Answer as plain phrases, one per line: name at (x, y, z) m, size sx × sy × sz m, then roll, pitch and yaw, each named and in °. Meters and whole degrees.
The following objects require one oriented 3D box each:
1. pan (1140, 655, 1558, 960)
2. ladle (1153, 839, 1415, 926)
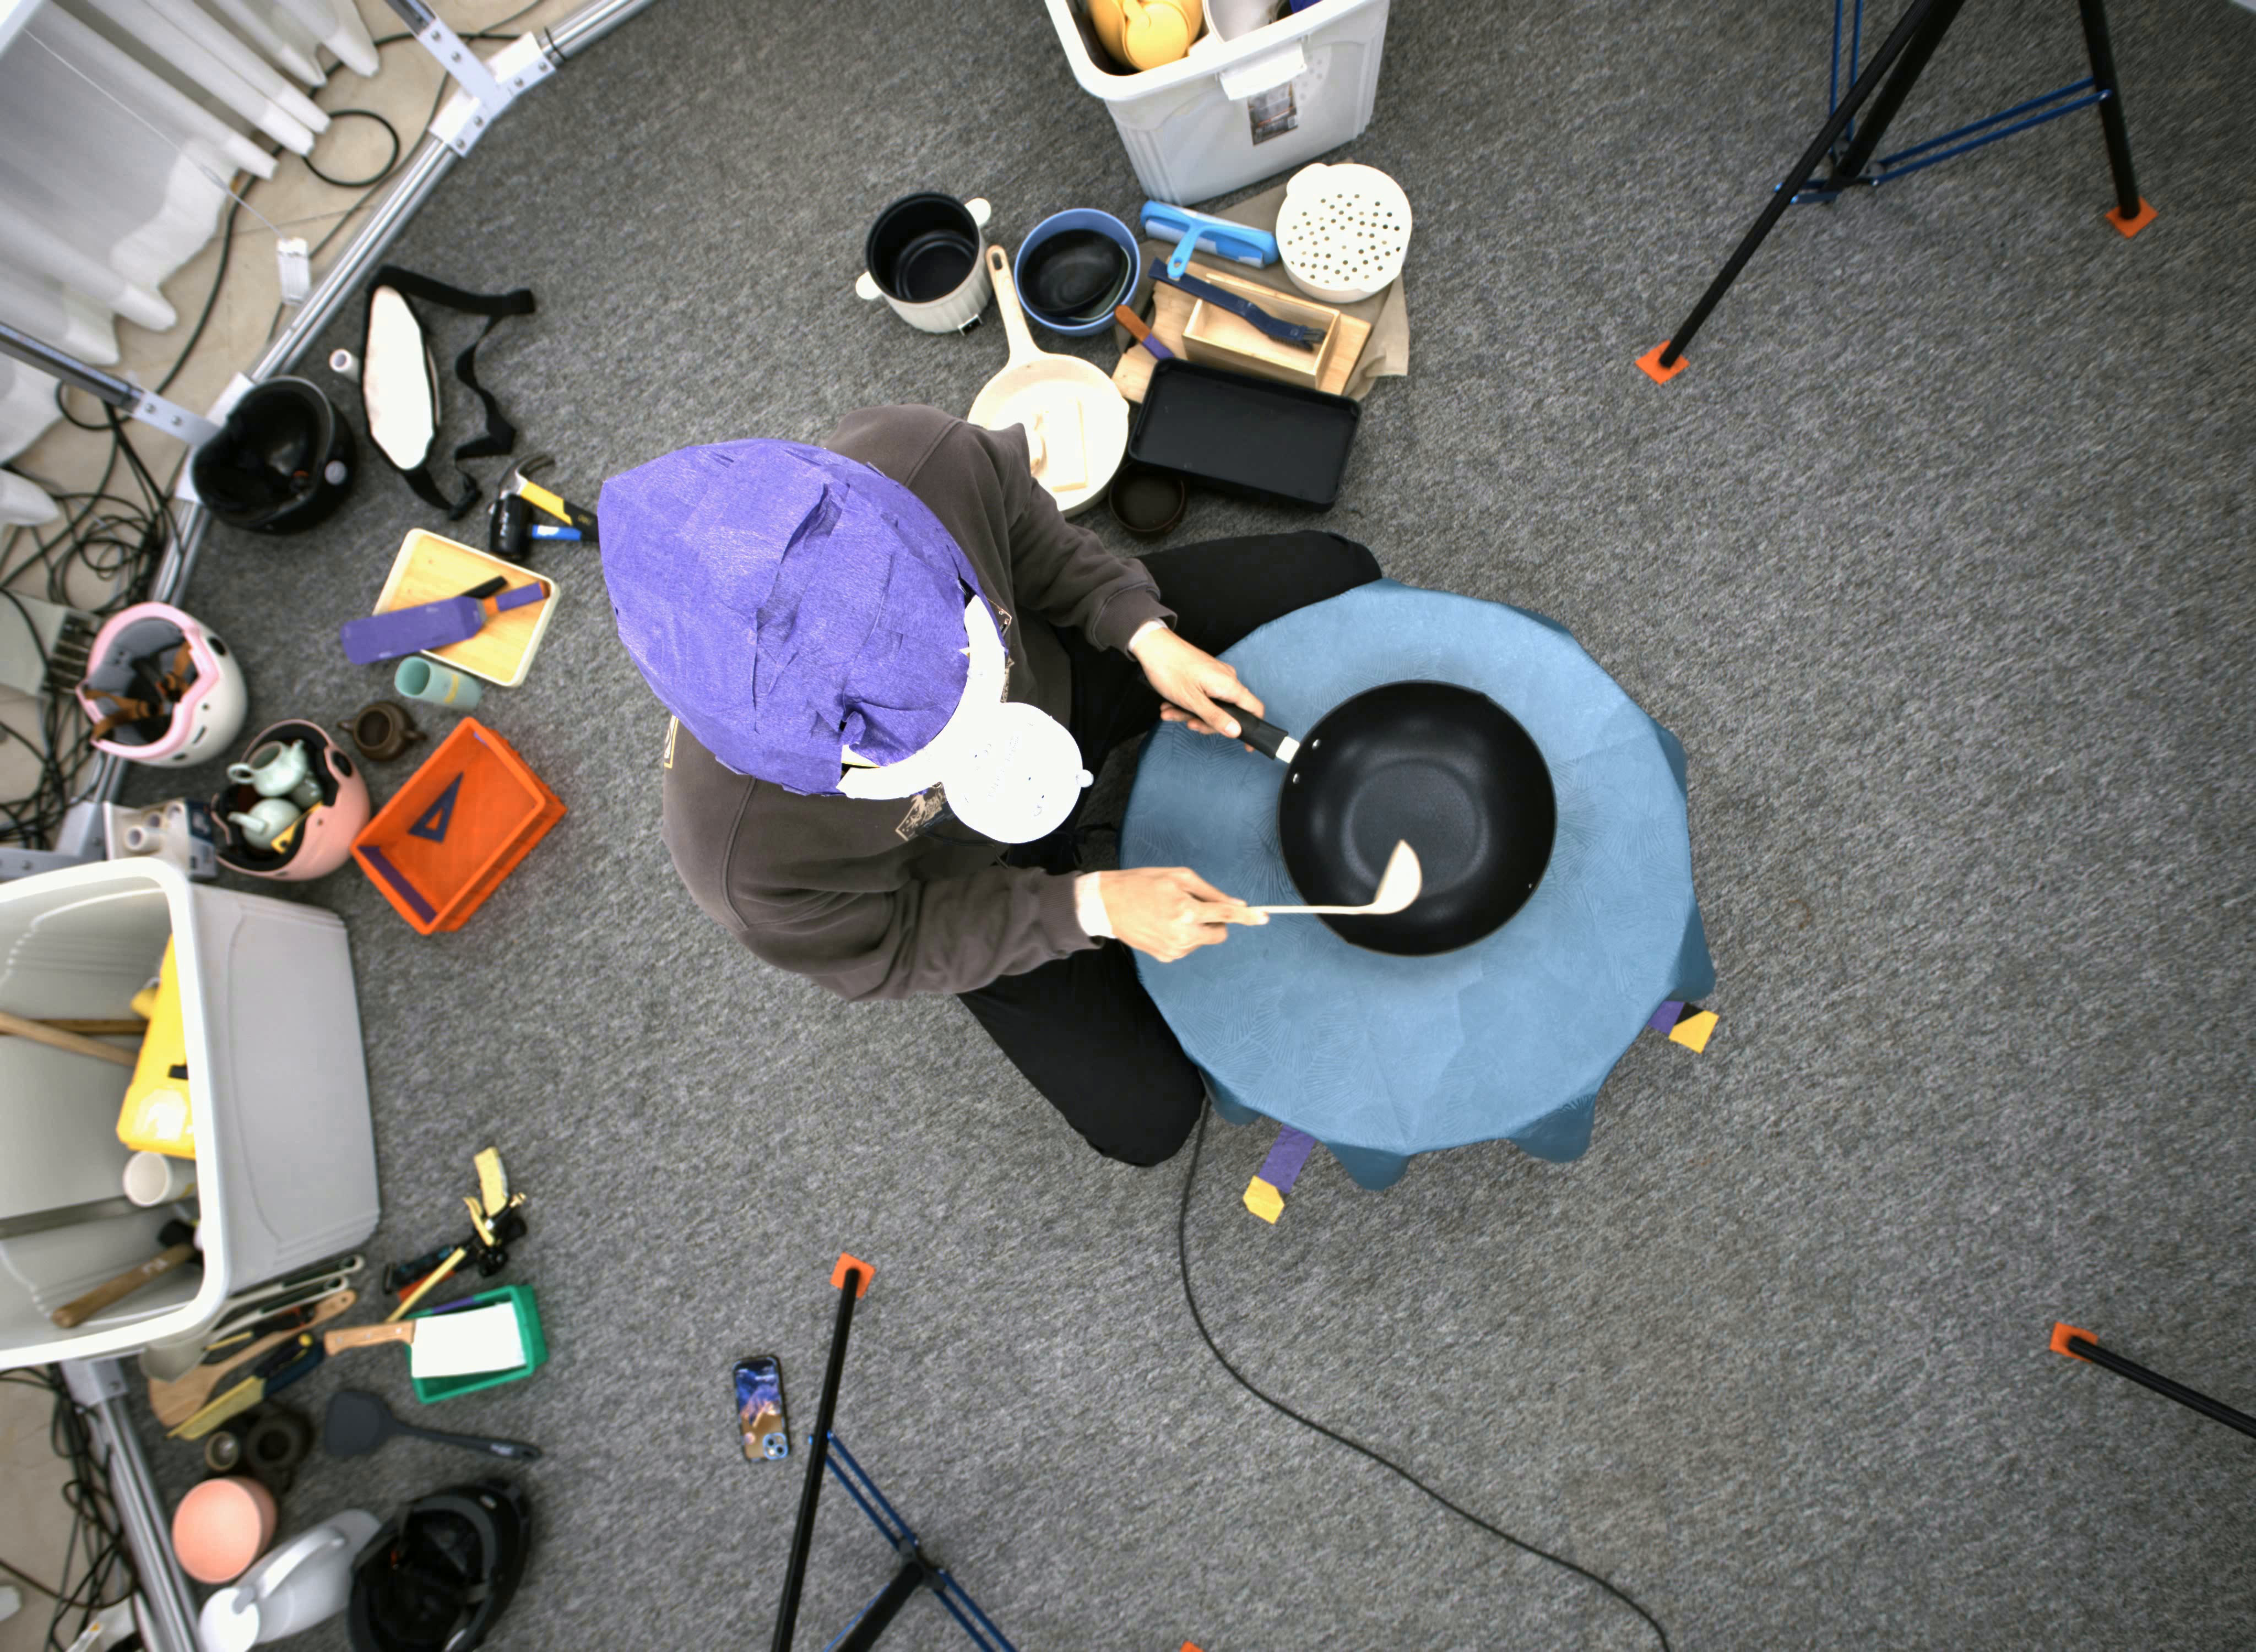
pan at (0.215, -0.049, 1.432) m, size 0.462 × 0.087 × 0.288 m, roll 30°, pitch 93°, yaw 13°
ladle at (0.148, 0.053, 1.333) m, size 0.254 × 0.072 × 0.072 m, roll -3°, pitch 83°, yaw -3°
